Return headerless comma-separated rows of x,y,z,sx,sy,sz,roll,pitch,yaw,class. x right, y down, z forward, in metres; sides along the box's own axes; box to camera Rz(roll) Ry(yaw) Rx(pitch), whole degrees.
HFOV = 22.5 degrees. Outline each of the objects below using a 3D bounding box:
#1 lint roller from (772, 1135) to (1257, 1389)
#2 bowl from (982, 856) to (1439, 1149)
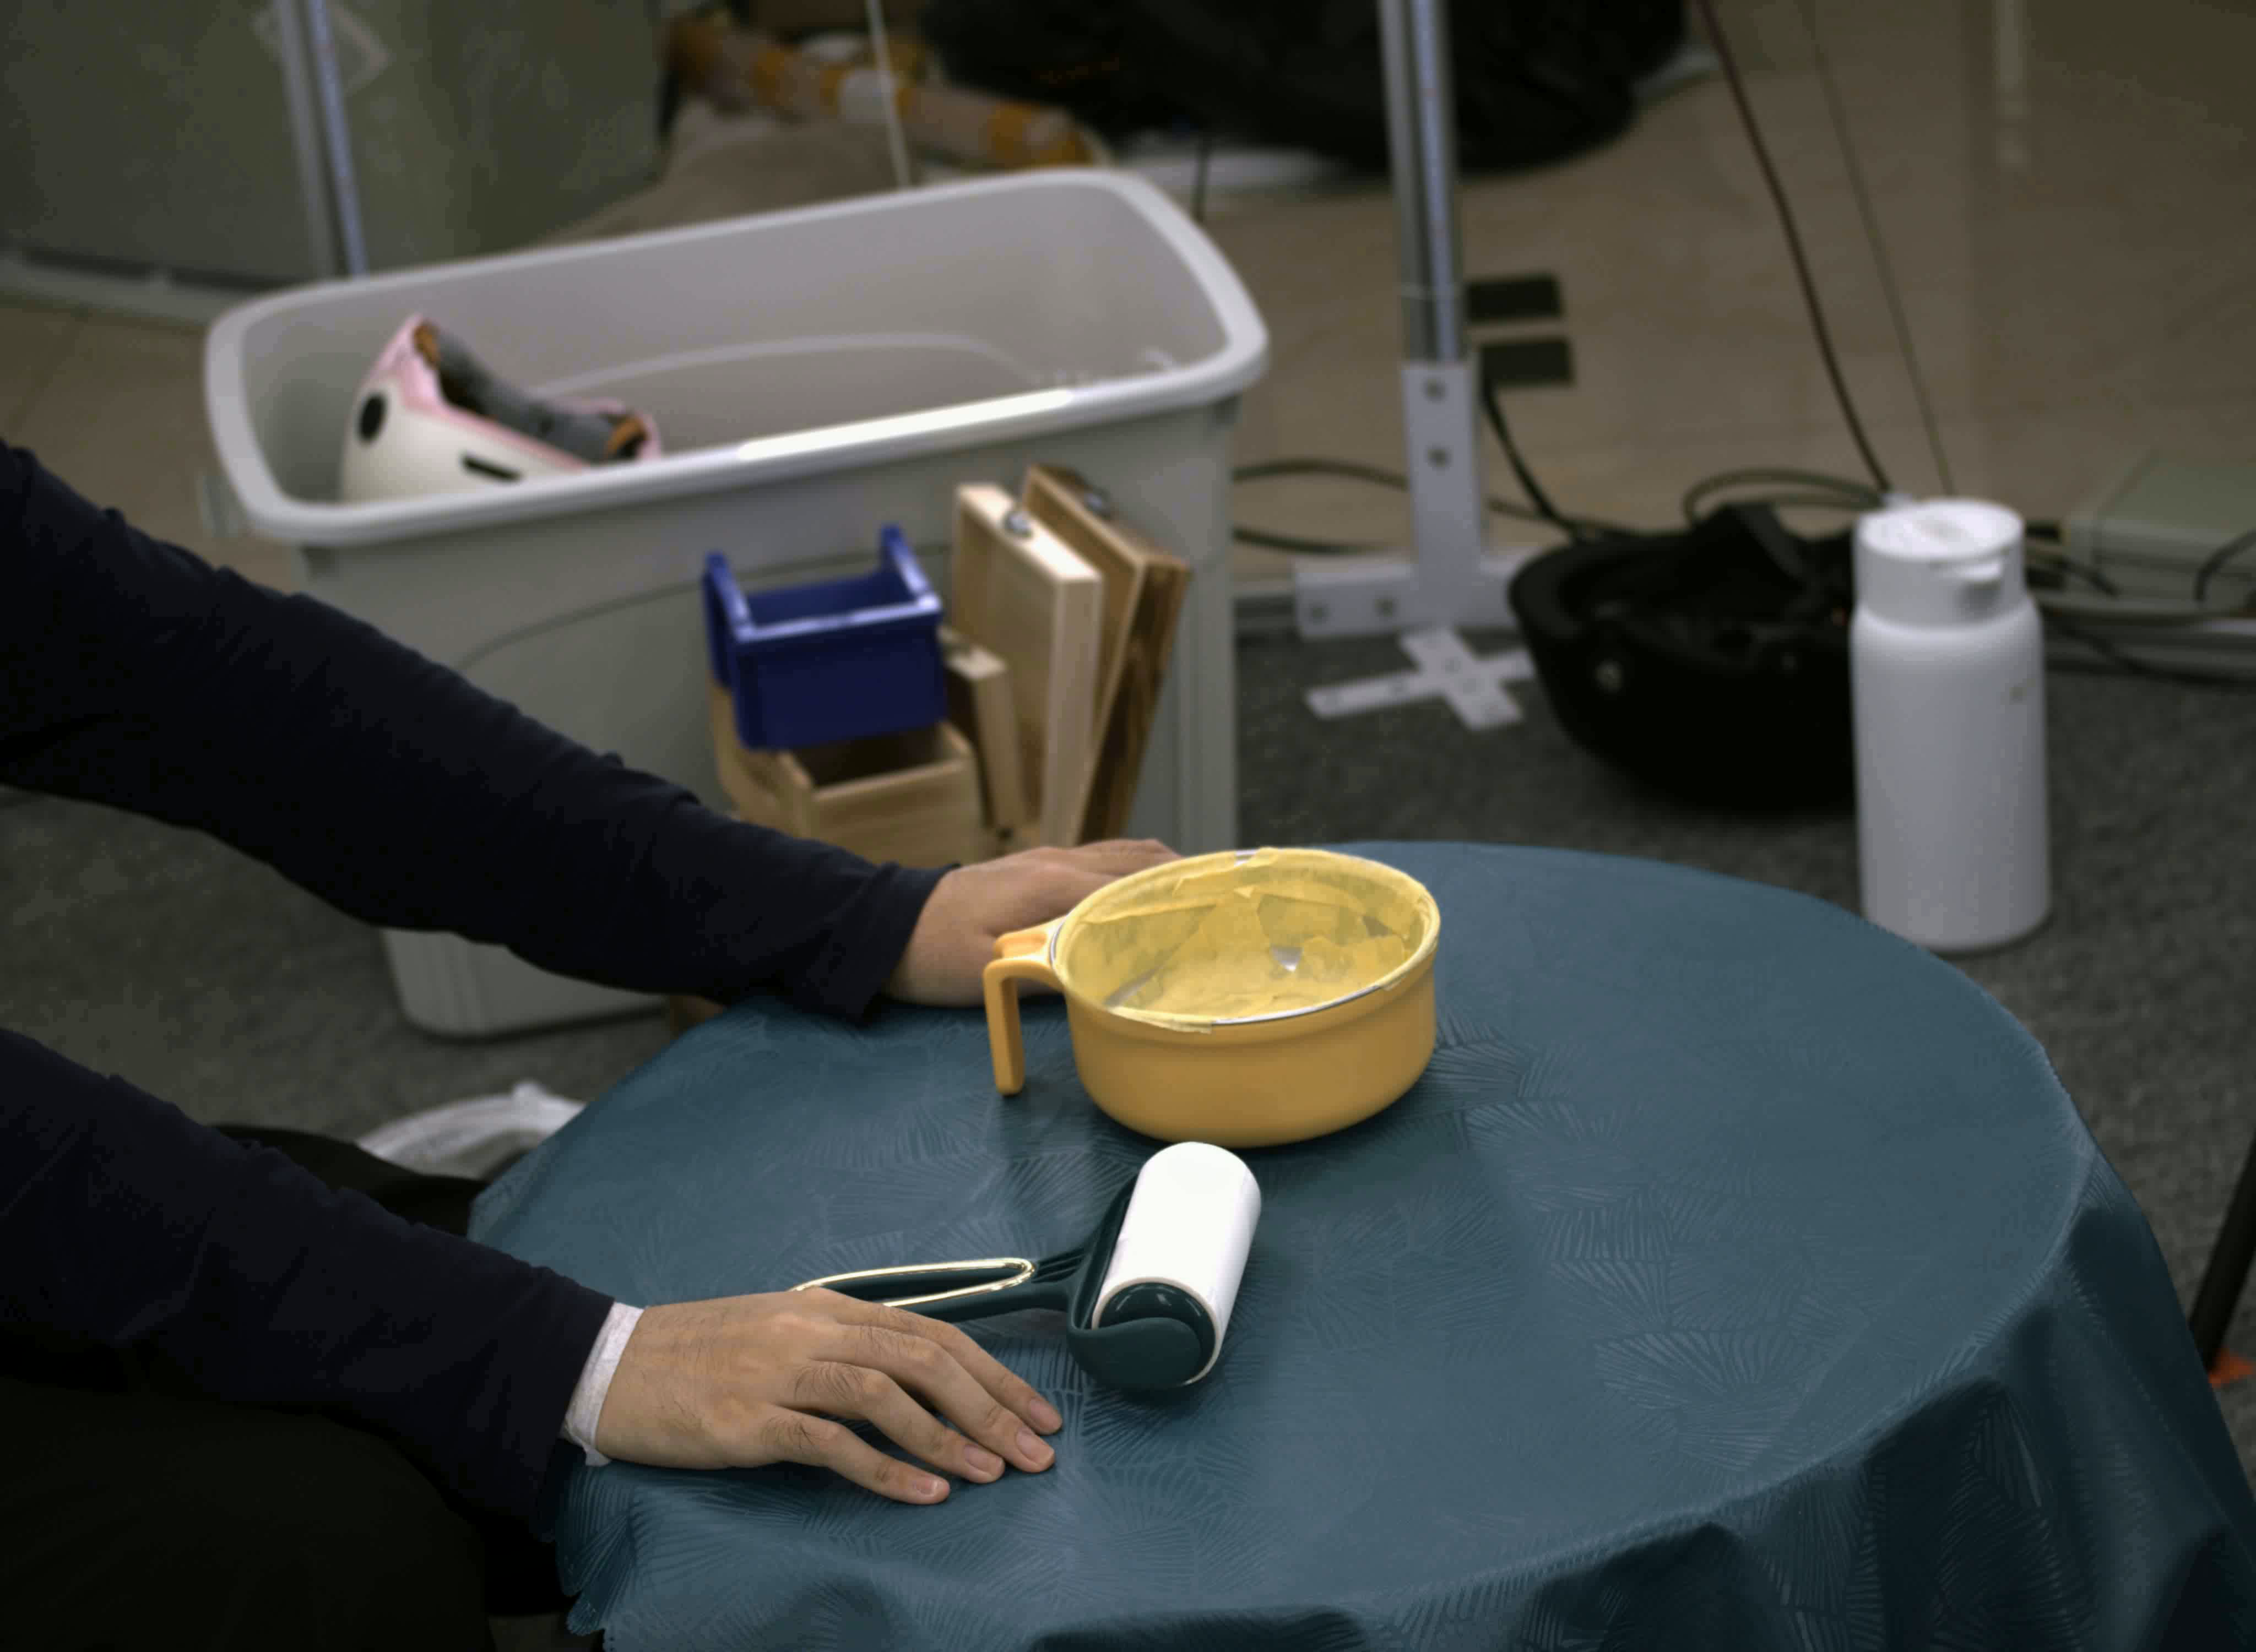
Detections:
-0.047,0.165,2.063,0.180,0.049,0.132,-6,25,13,lint roller
0.034,0.072,2.210,0.179,0.075,0.150,-4,26,5,bowl
